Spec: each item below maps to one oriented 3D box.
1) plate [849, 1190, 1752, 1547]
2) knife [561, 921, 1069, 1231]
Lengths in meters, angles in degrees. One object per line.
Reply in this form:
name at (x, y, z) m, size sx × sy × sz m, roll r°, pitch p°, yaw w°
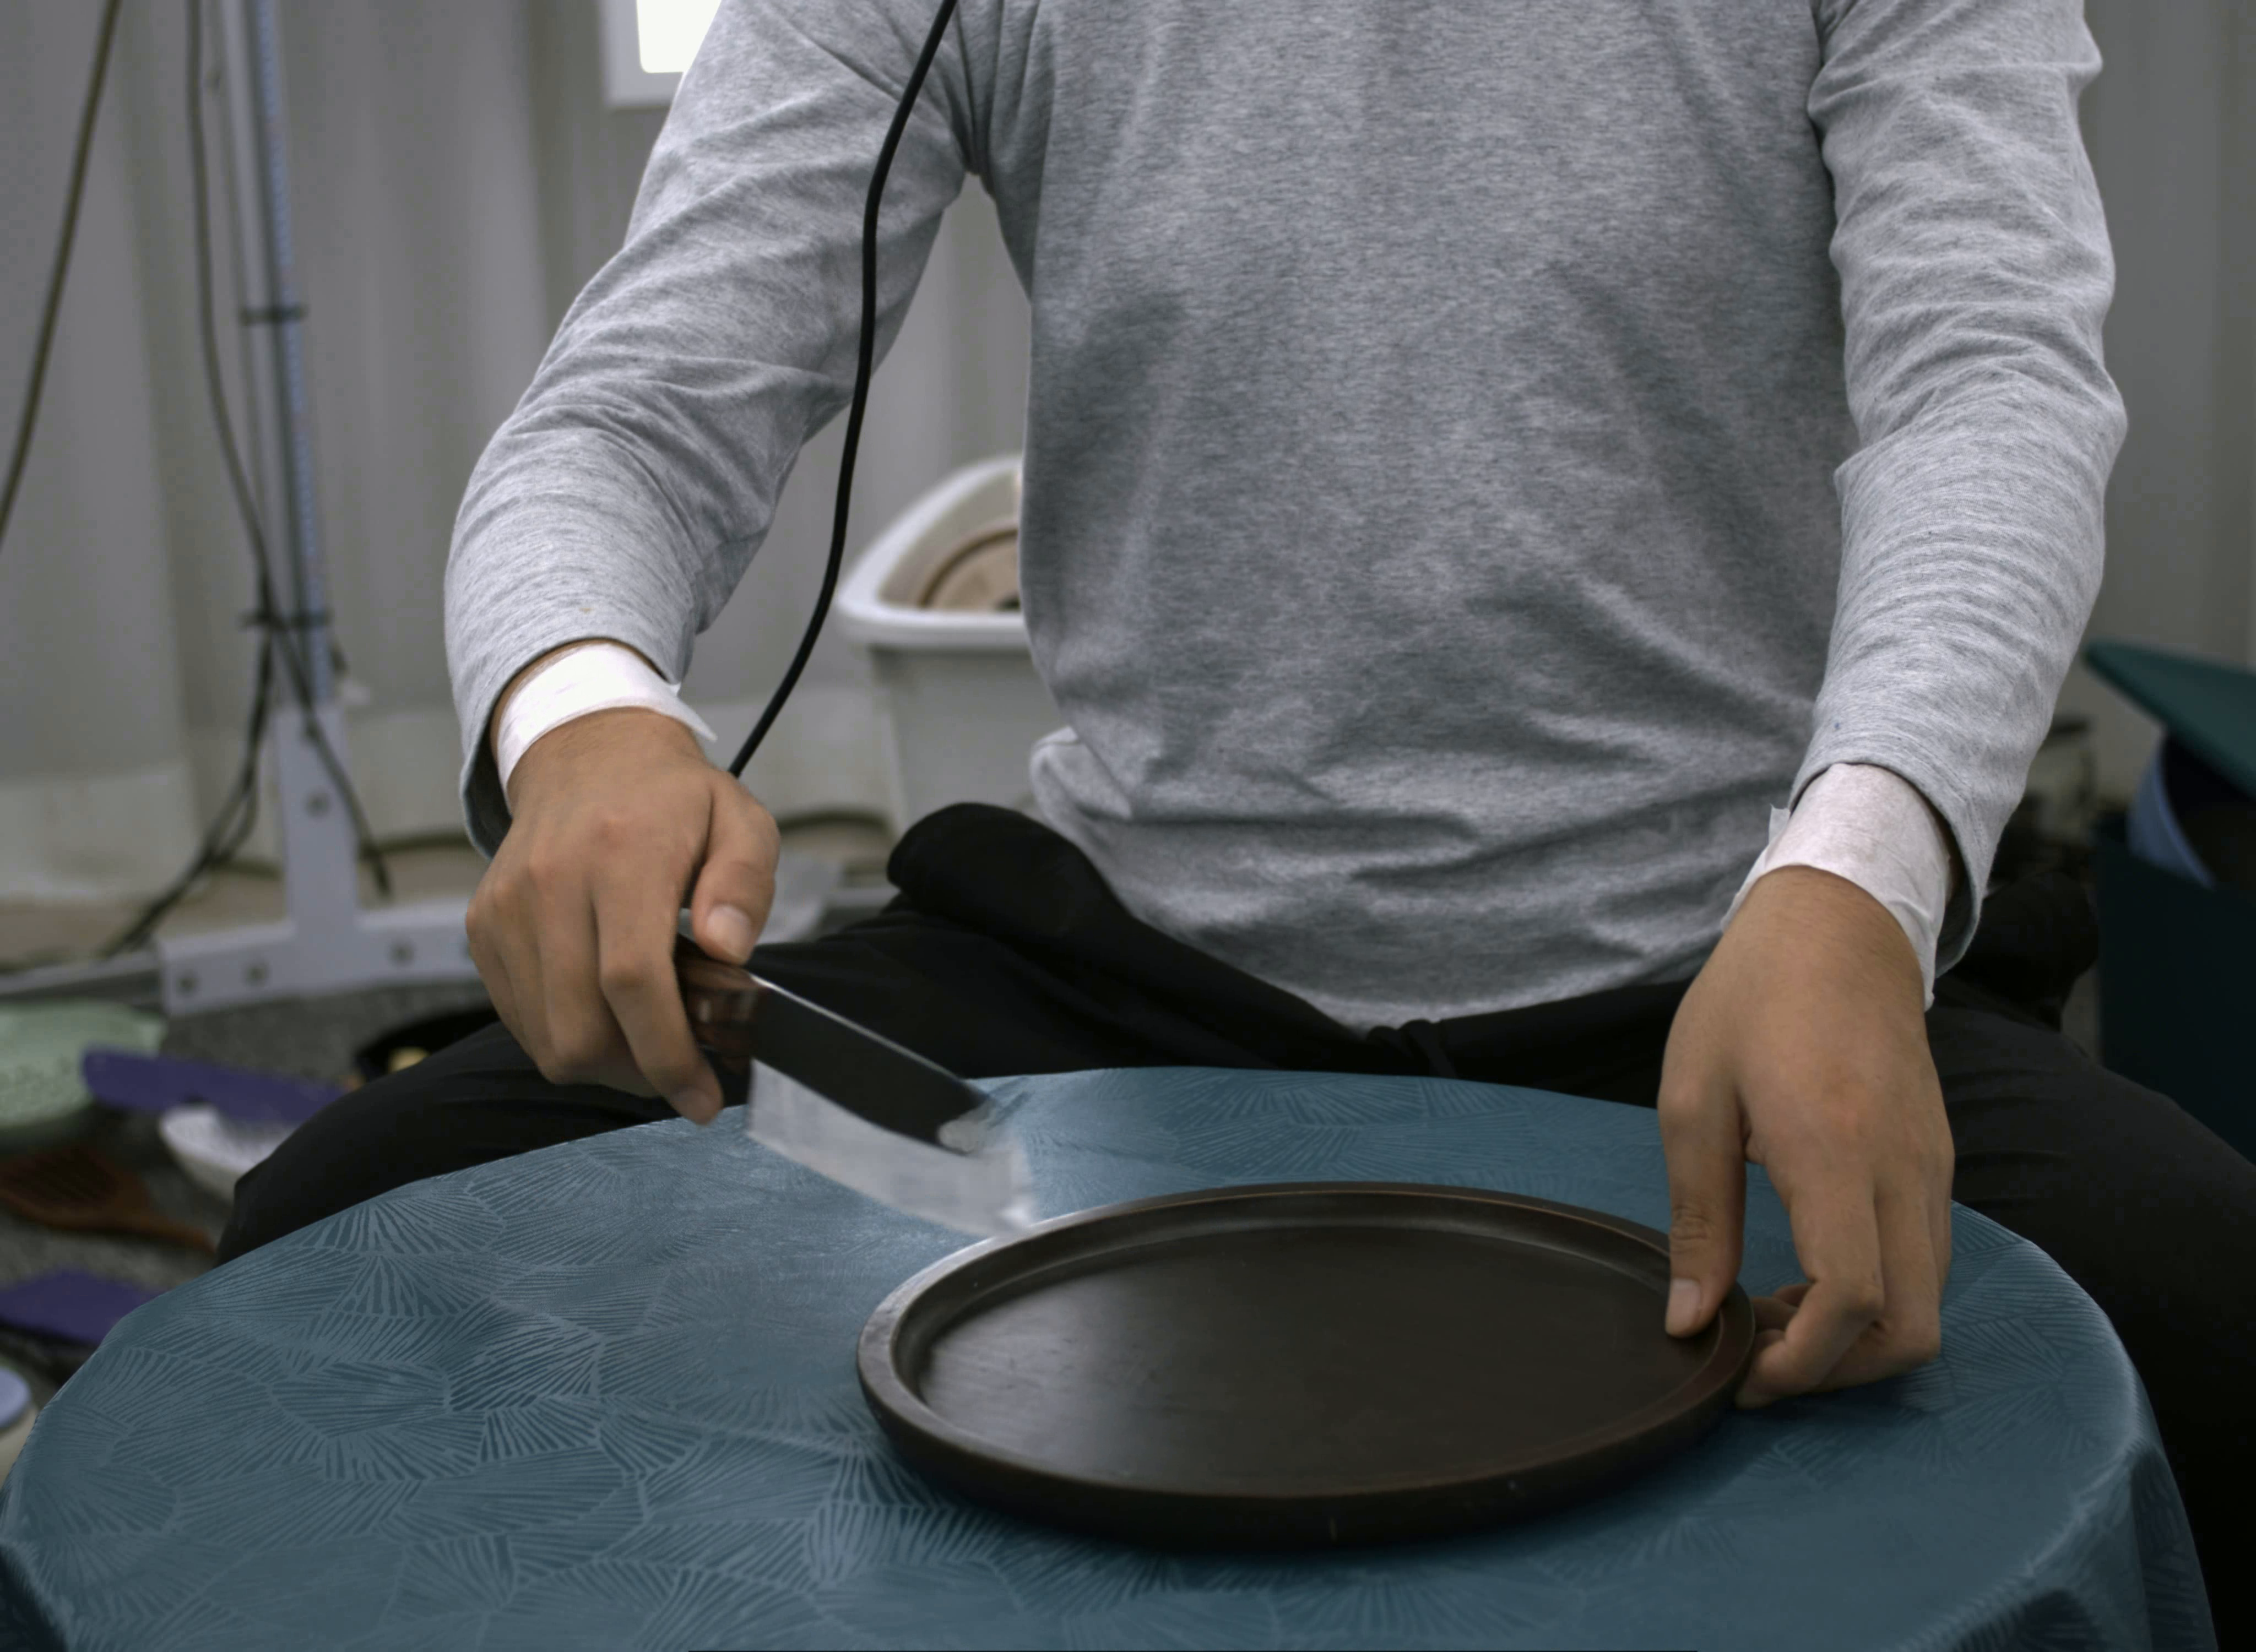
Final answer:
plate at (0.049, 0.149, 1.532) m, size 0.254 × 0.029 × 0.256 m, roll -4°, pitch 13°, yaw 1°
knife at (-0.089, 0.067, 1.515) m, size 0.020 × 0.050 × 0.291 m, roll -4°, pitch 14°, yaw -31°
